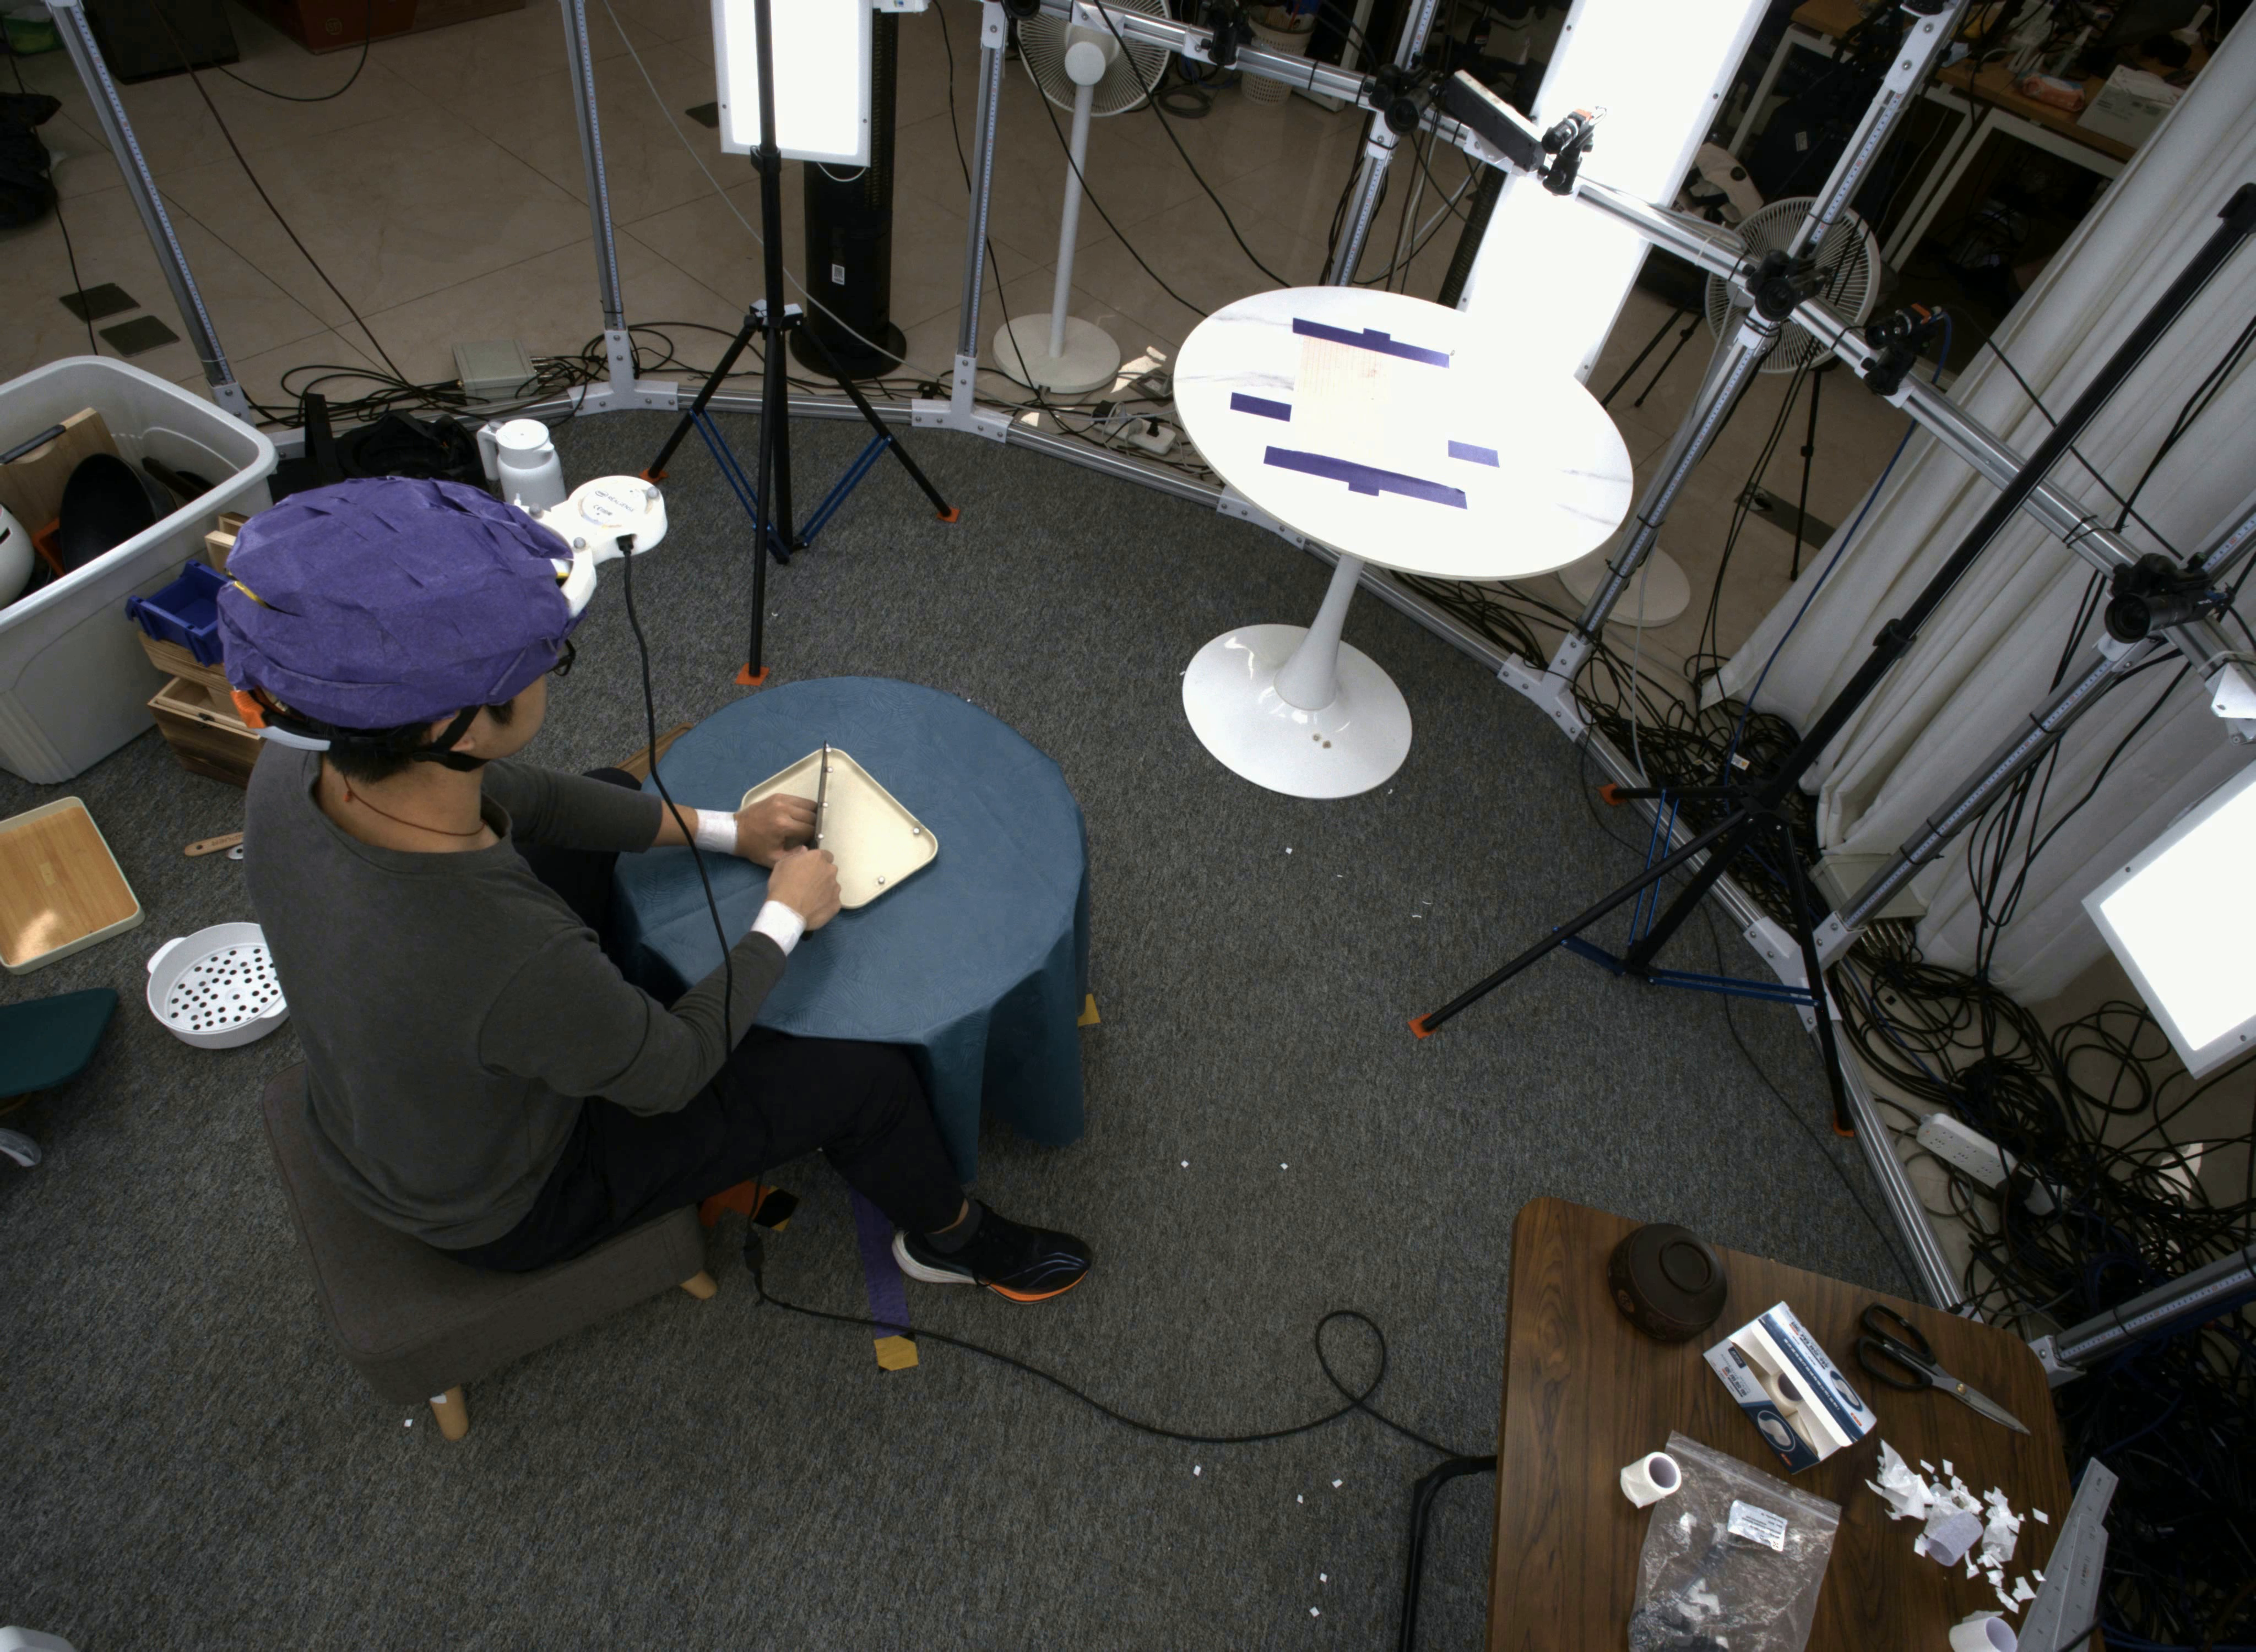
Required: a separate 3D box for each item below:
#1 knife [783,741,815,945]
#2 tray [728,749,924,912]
[{"bbox_3d":[-0.418,0.021,1.665,0.021,0.083,0.296,1,50,-7],"label":"knife"},{"bbox_3d":[-0.402,0.003,1.727,0.234,0.018,0.171,41,56,16],"label":"tray"}]
